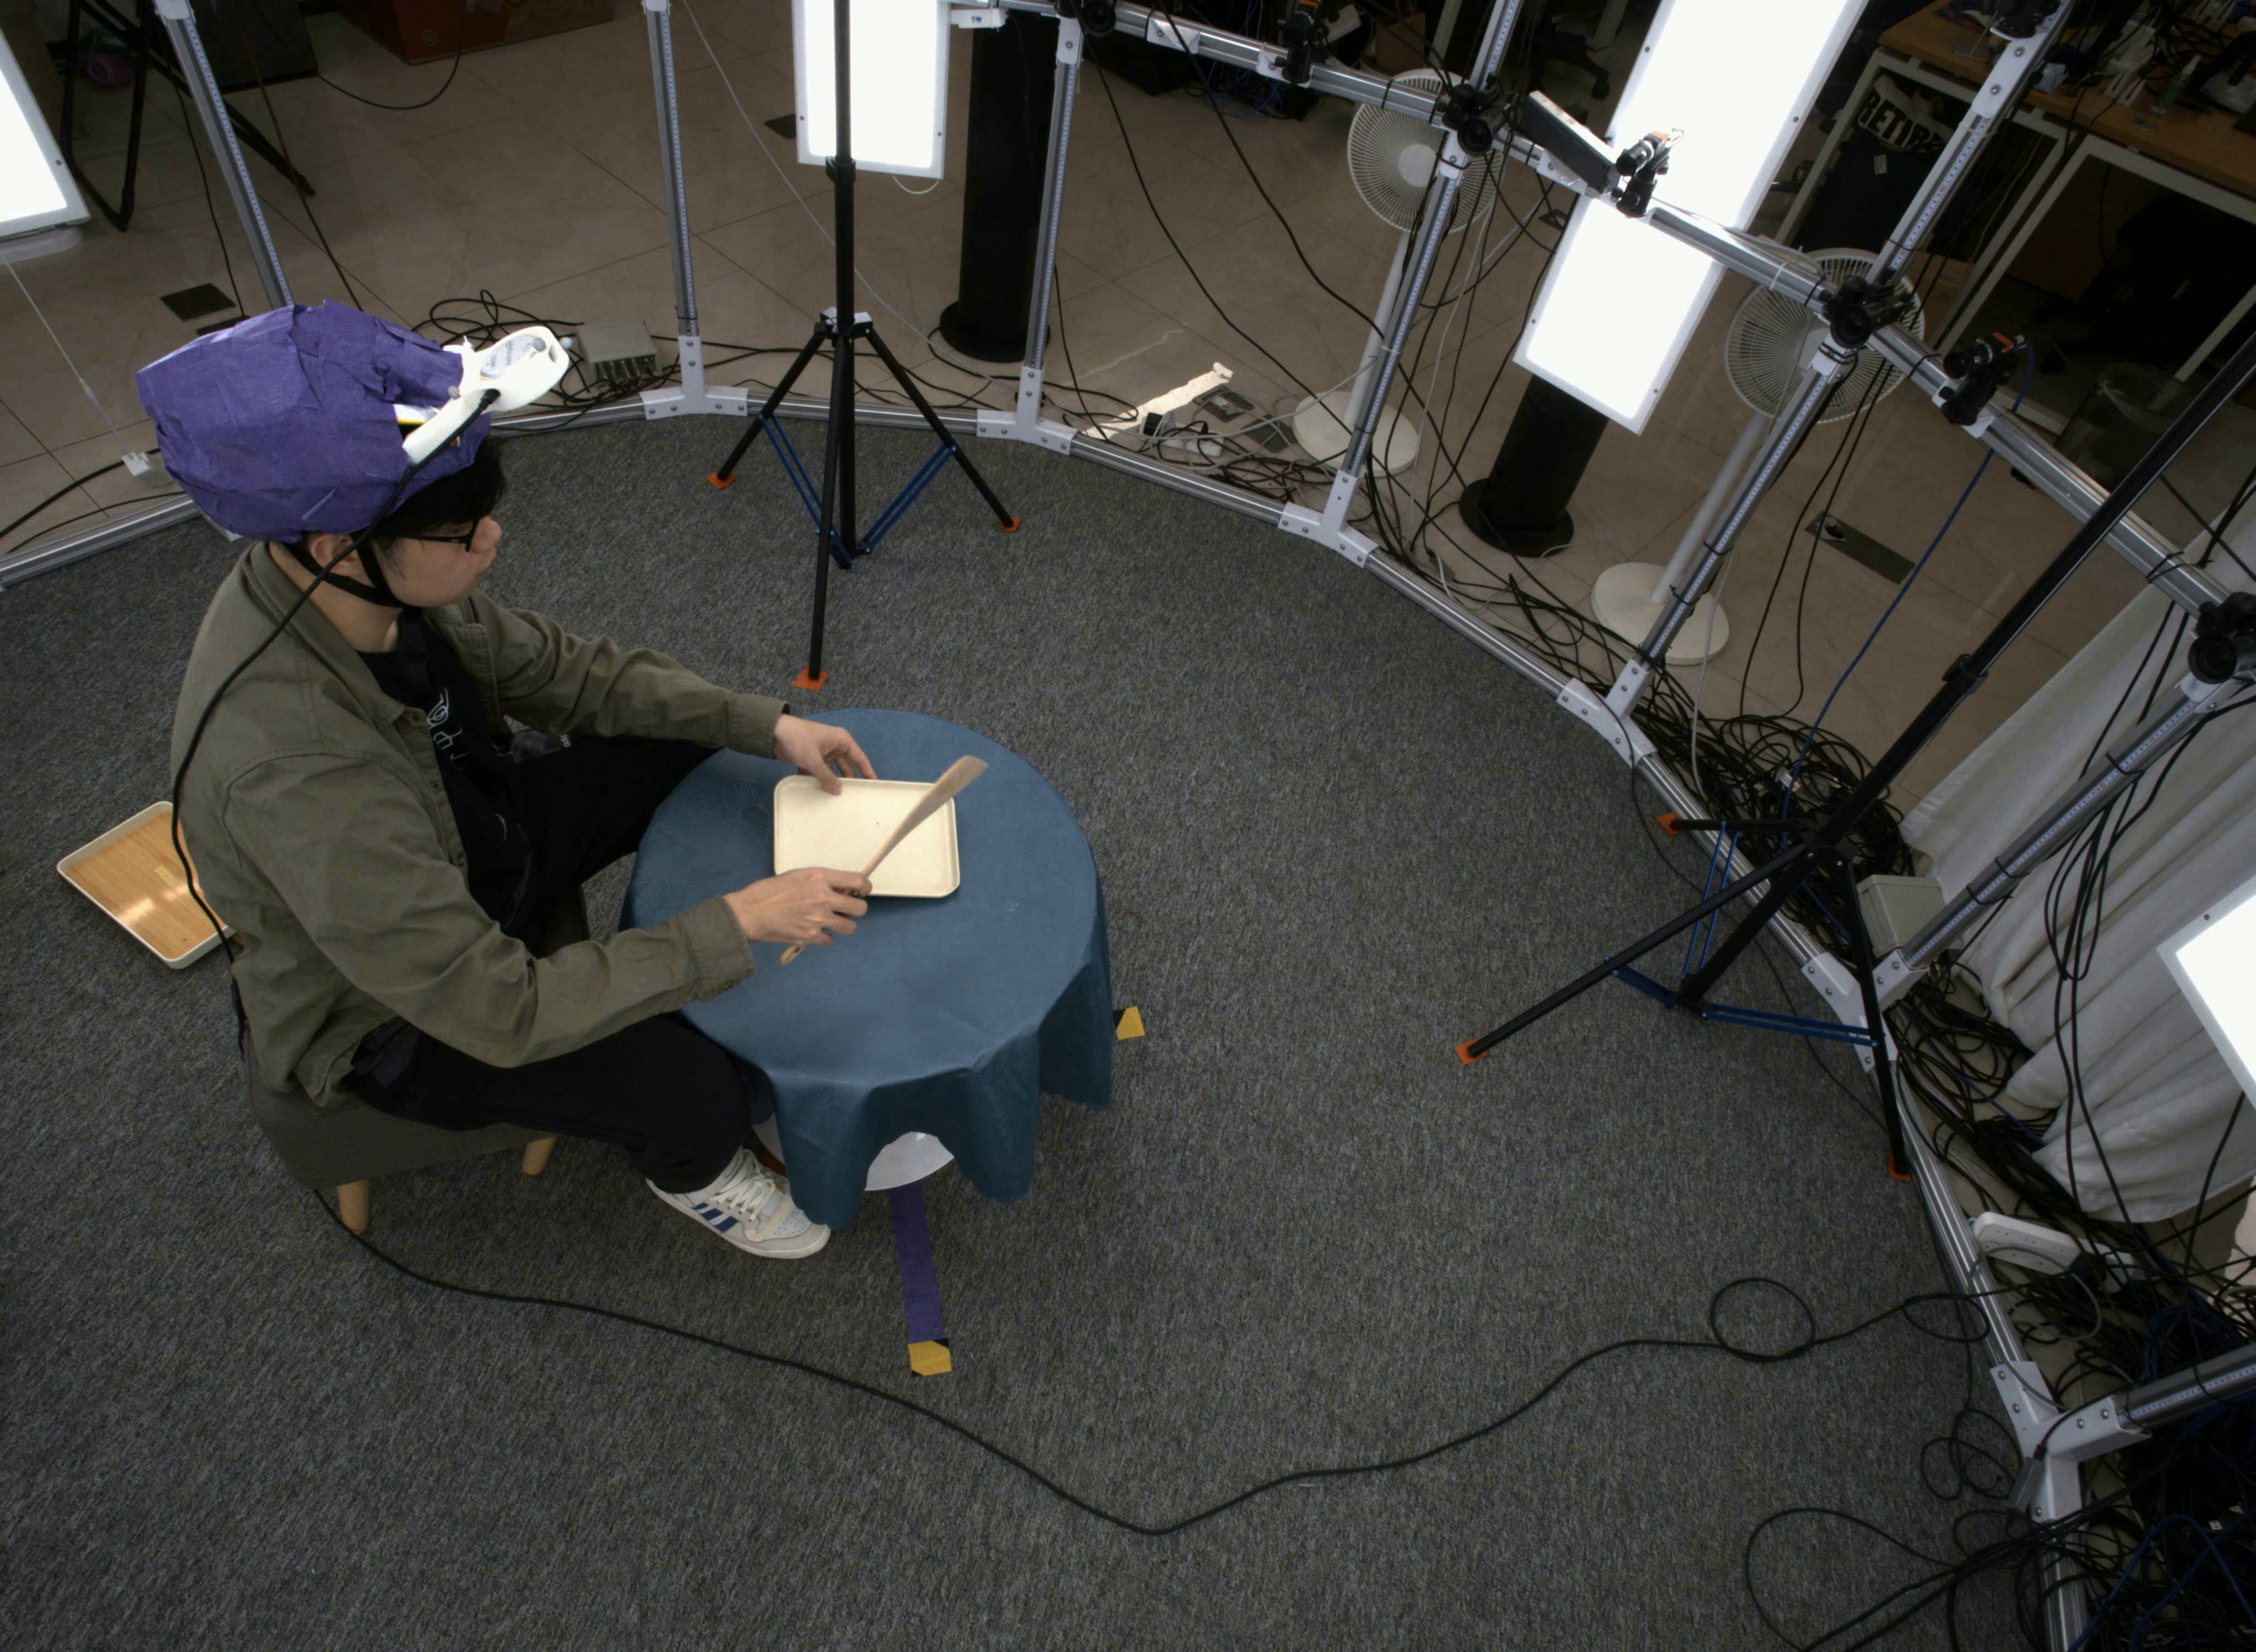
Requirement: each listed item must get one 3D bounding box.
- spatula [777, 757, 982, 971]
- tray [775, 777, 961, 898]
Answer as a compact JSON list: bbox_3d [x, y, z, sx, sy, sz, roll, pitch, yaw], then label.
[{"bbox_3d":[-0.286,0.040,1.478,0.016,0.081,0.328,40,85,11],"label":"spatula"},{"bbox_3d":[-0.341,0.016,1.706,0.242,0.017,0.168,3,61,-23],"label":"tray"}]
